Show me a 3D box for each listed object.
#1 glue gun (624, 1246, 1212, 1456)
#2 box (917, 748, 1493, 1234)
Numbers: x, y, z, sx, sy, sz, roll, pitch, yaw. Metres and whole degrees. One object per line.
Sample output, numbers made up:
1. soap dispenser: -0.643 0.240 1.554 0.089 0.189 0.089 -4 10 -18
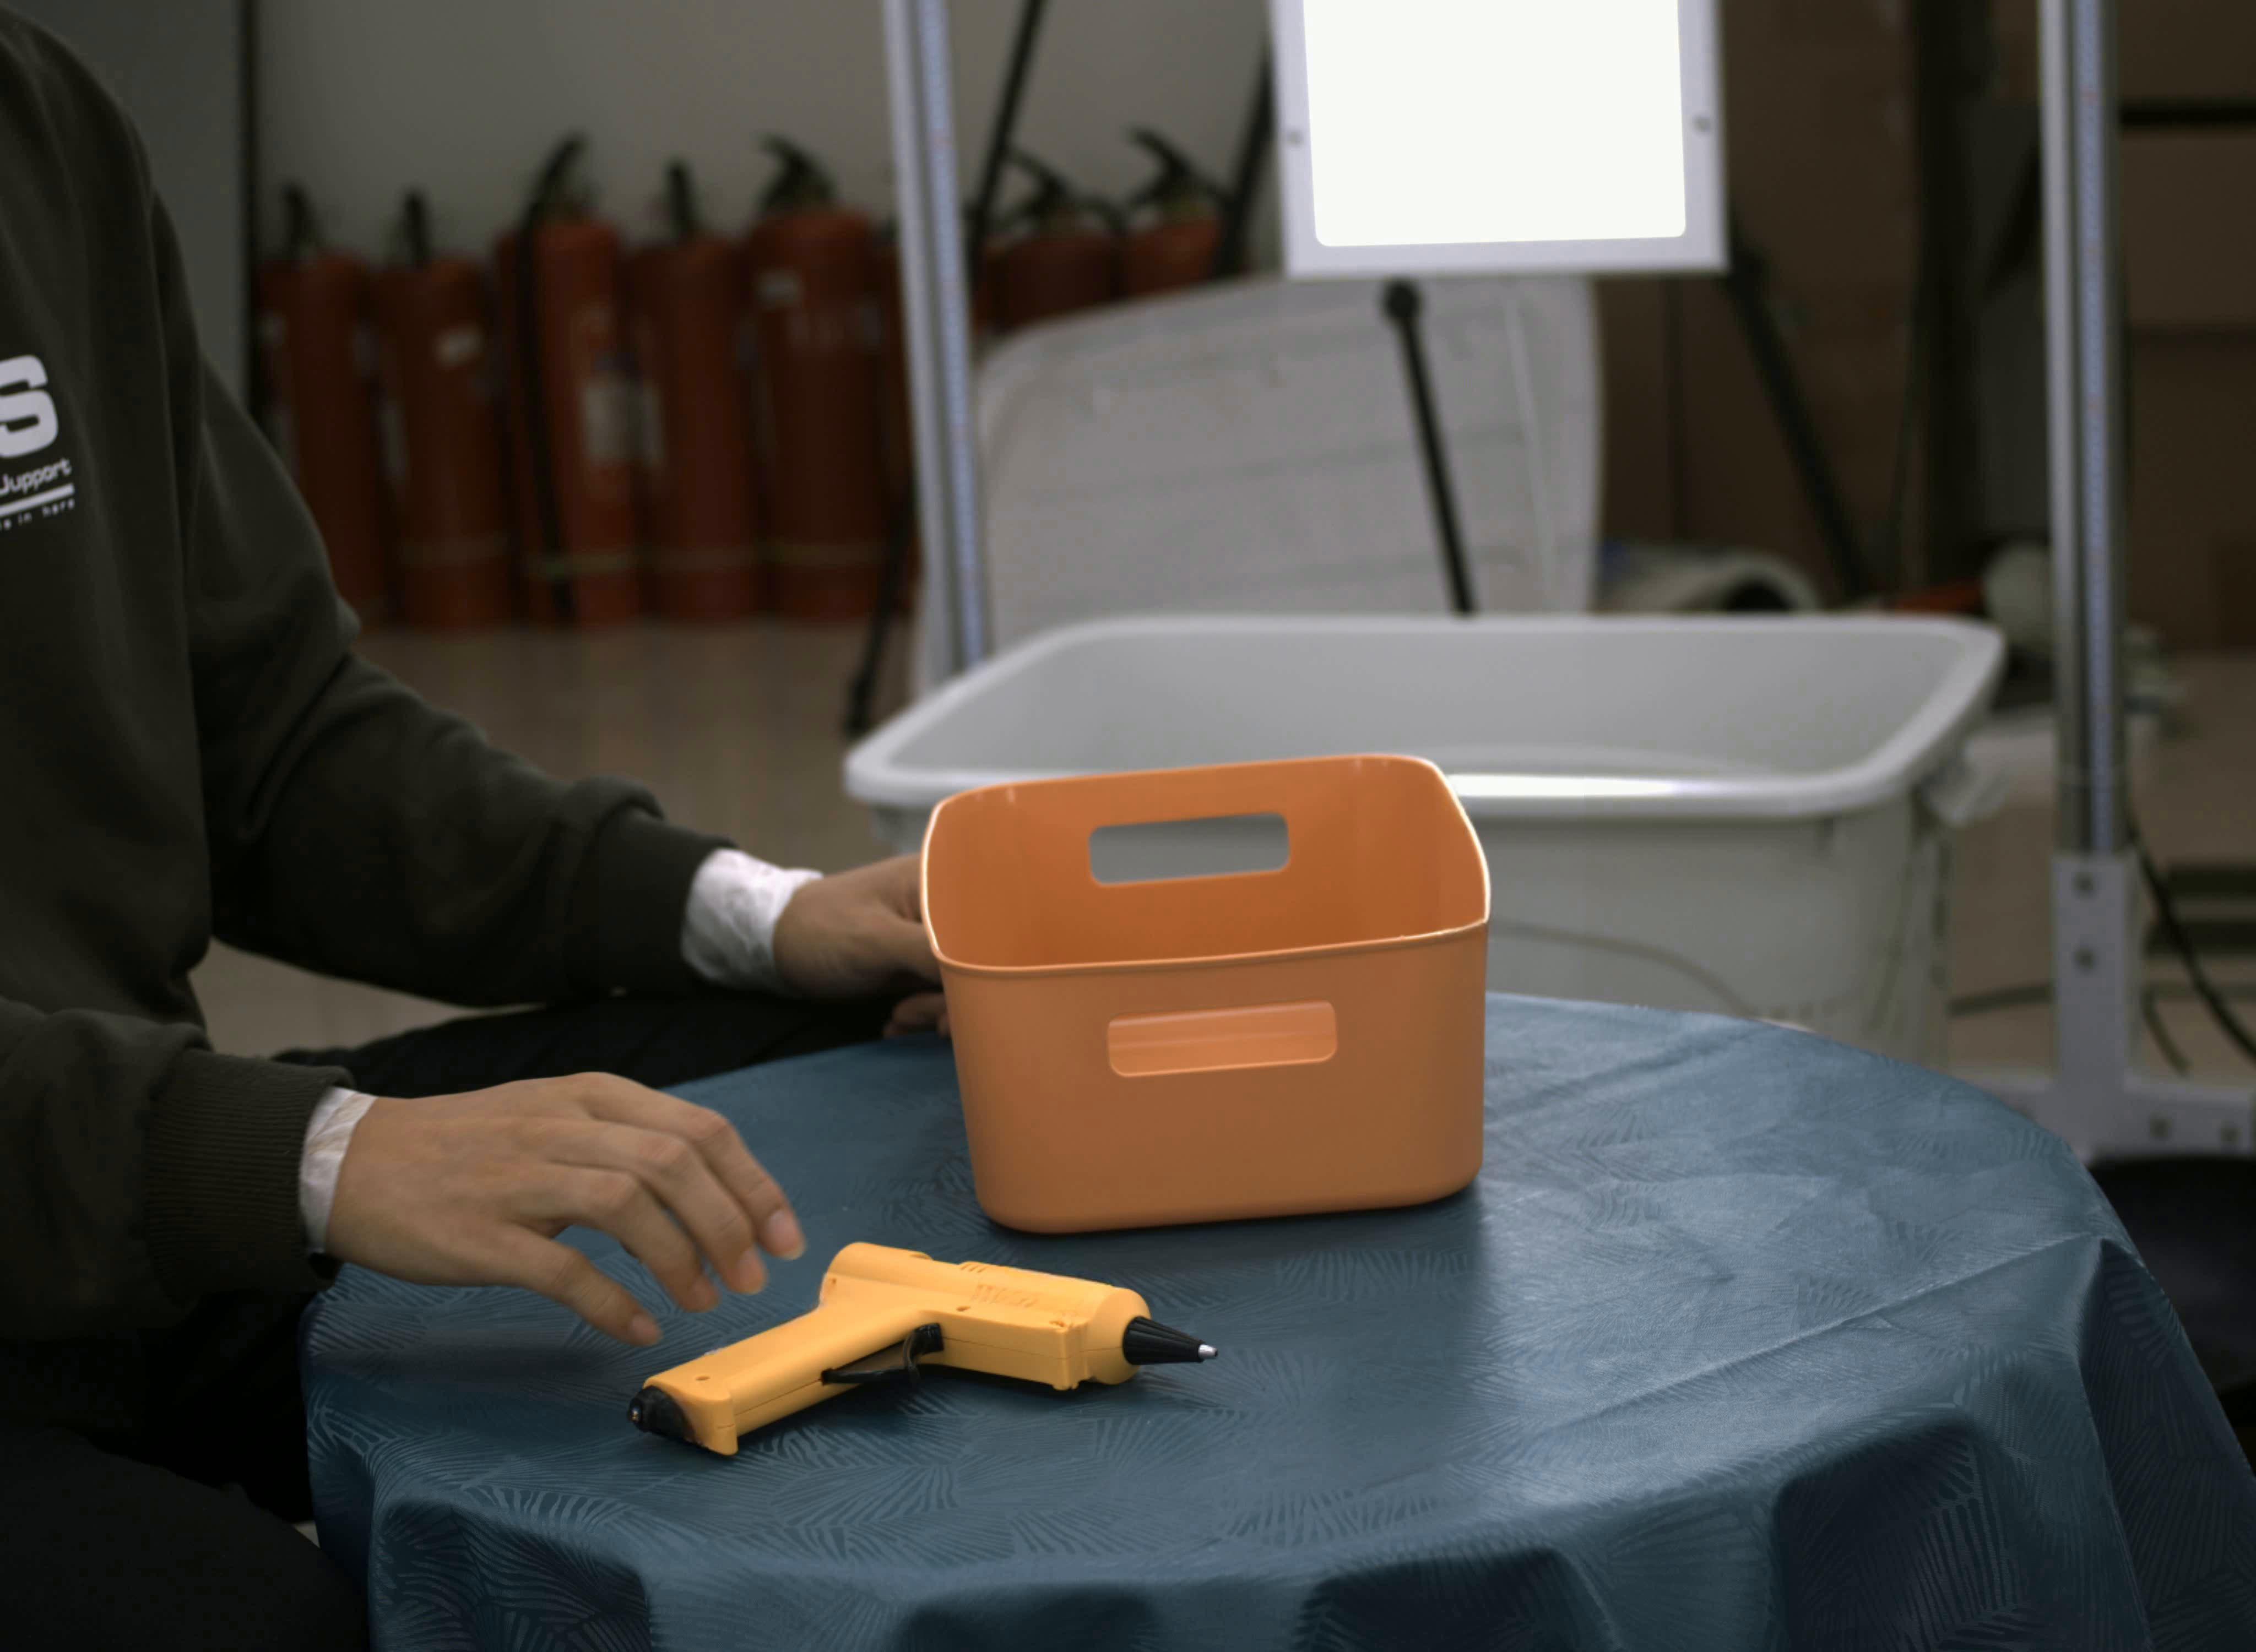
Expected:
1. glue gun: -0.058 0.168 1.699 0.154 0.031 0.130 4 18 34
2. box: 0.027 0.057 1.956 0.199 0.103 0.273 -5 14 0
